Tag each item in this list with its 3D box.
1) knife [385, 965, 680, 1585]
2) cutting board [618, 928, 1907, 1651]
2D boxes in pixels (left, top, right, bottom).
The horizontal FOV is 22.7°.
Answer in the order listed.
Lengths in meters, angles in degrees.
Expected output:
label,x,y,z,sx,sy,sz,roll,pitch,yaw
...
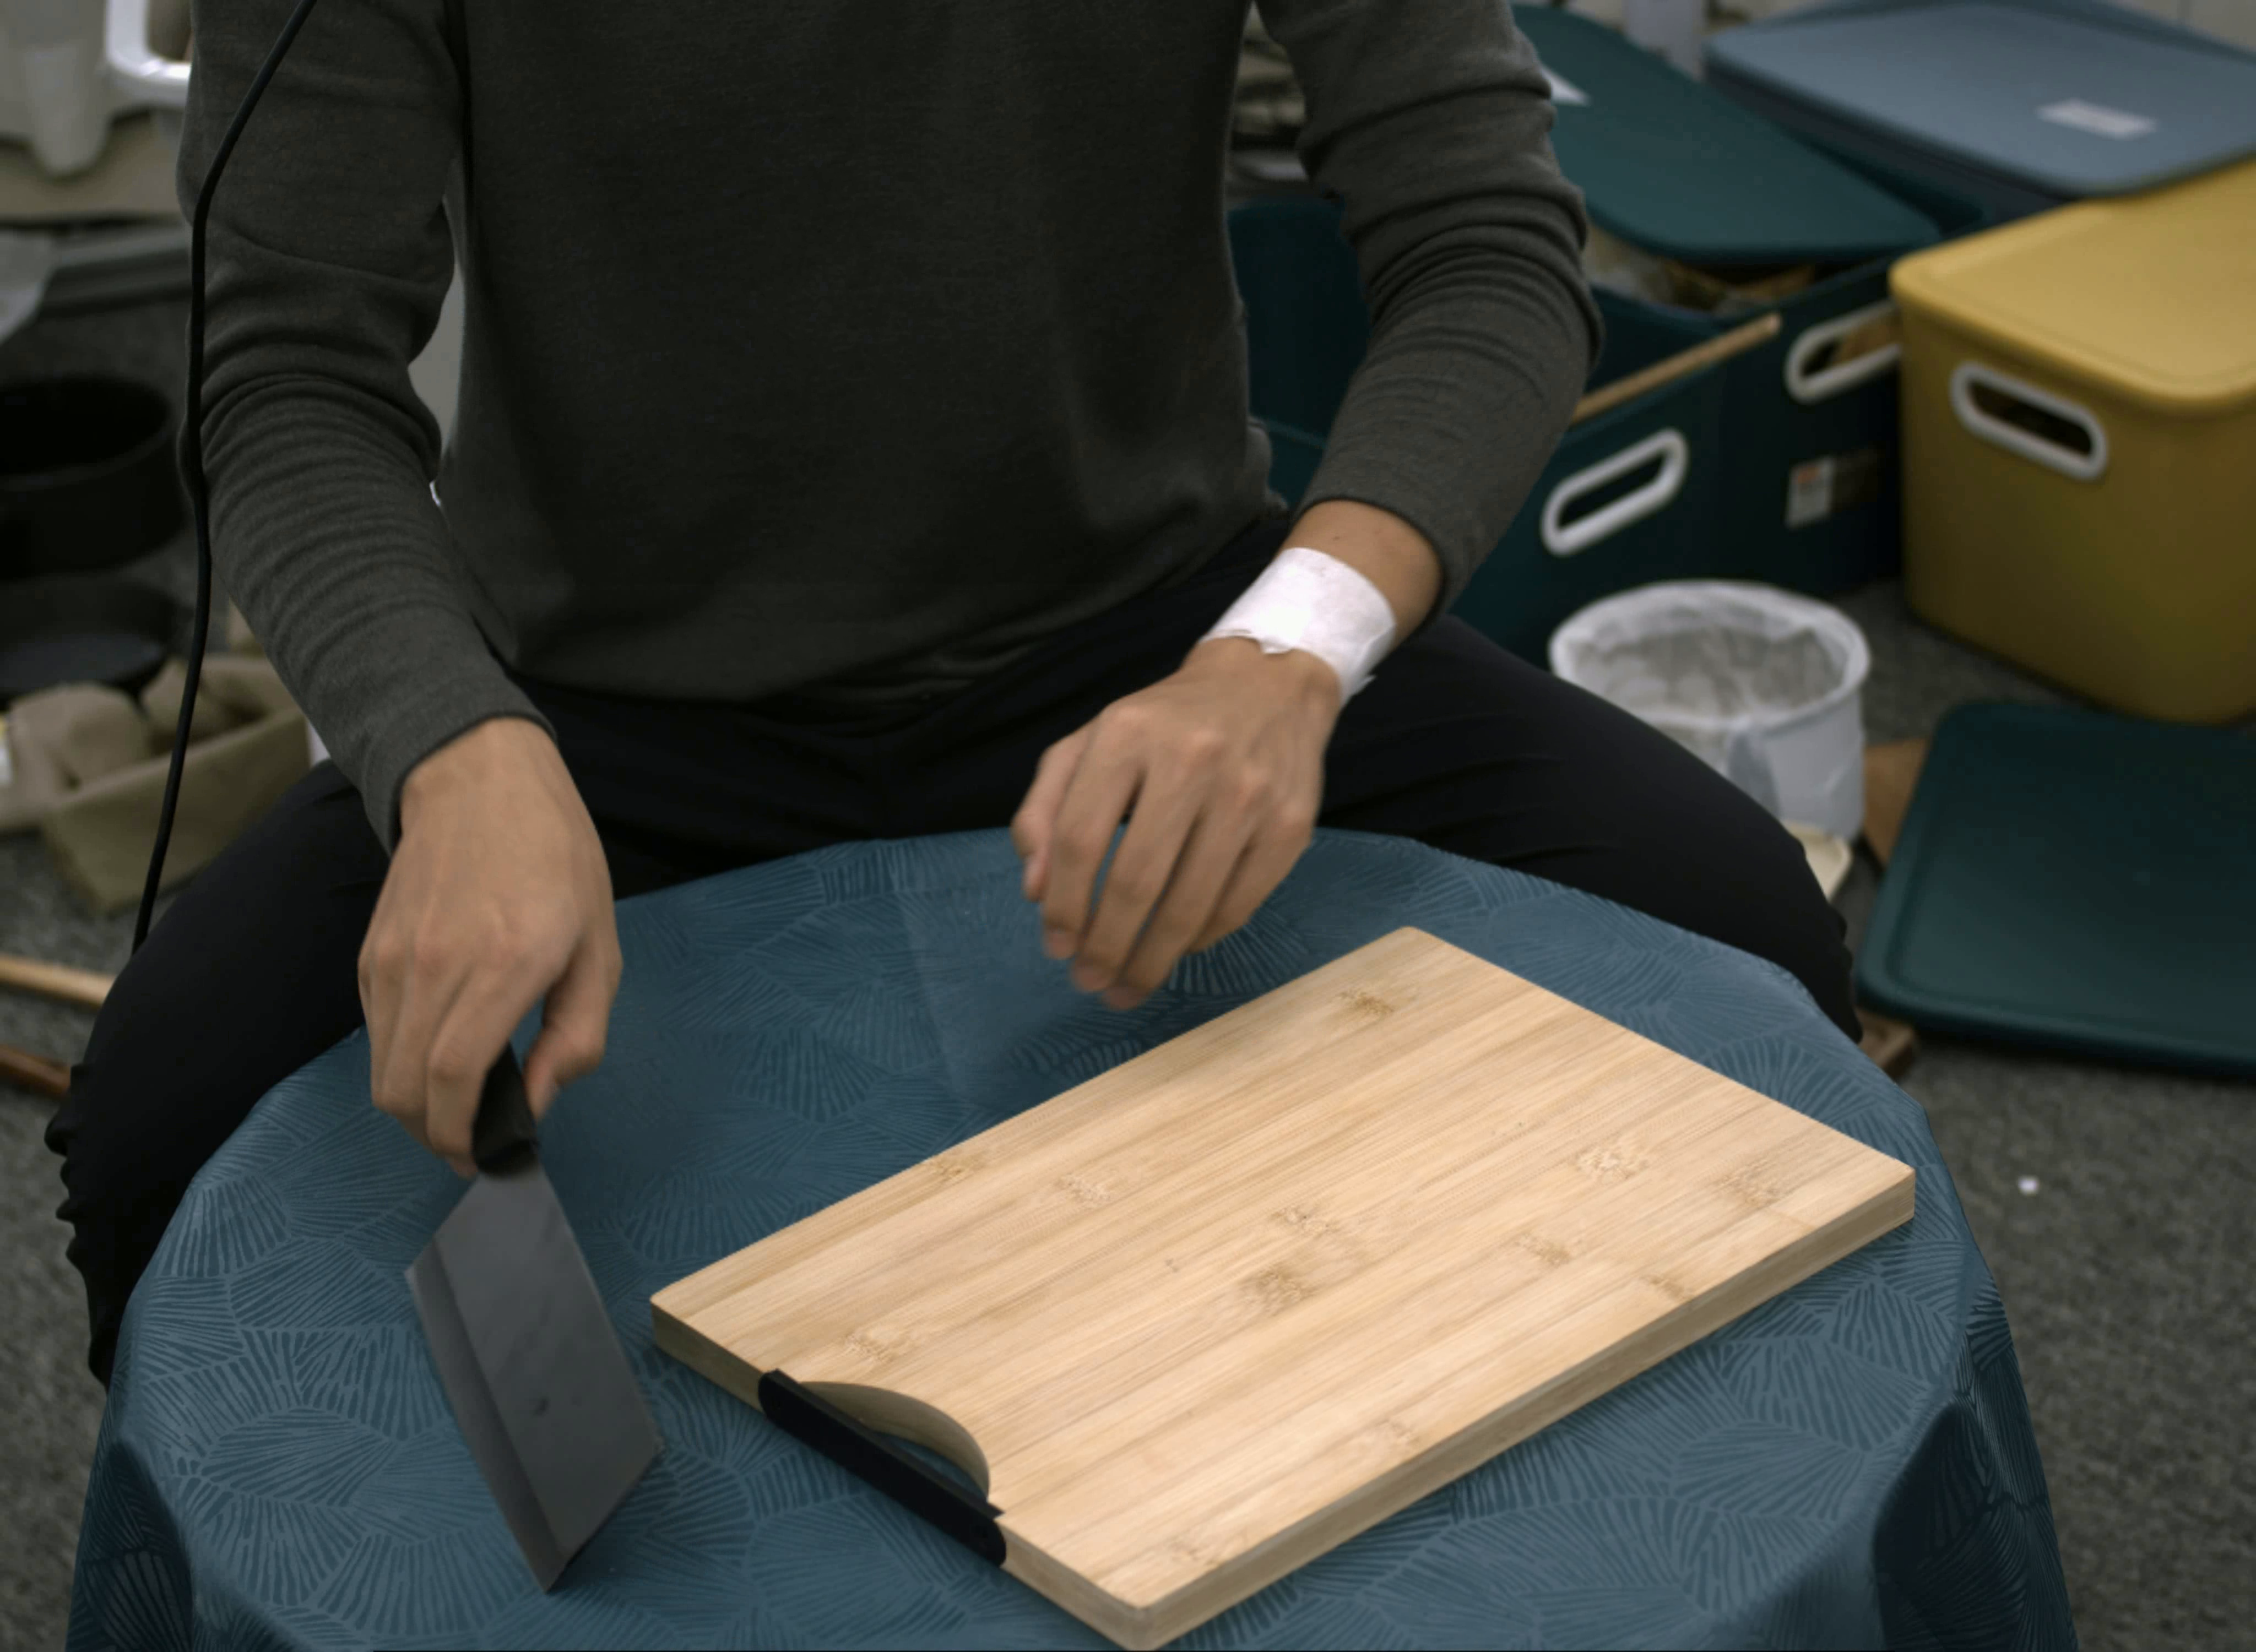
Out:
label,x,y,z,sx,sy,sz,roll,pitch,yaw
knife,-0.201,0.135,1.789,0.080,0.021,0.306,-41,35,9
cutting board,0.047,0.141,1.803,0.352,0.023,0.250,-25,34,-36
